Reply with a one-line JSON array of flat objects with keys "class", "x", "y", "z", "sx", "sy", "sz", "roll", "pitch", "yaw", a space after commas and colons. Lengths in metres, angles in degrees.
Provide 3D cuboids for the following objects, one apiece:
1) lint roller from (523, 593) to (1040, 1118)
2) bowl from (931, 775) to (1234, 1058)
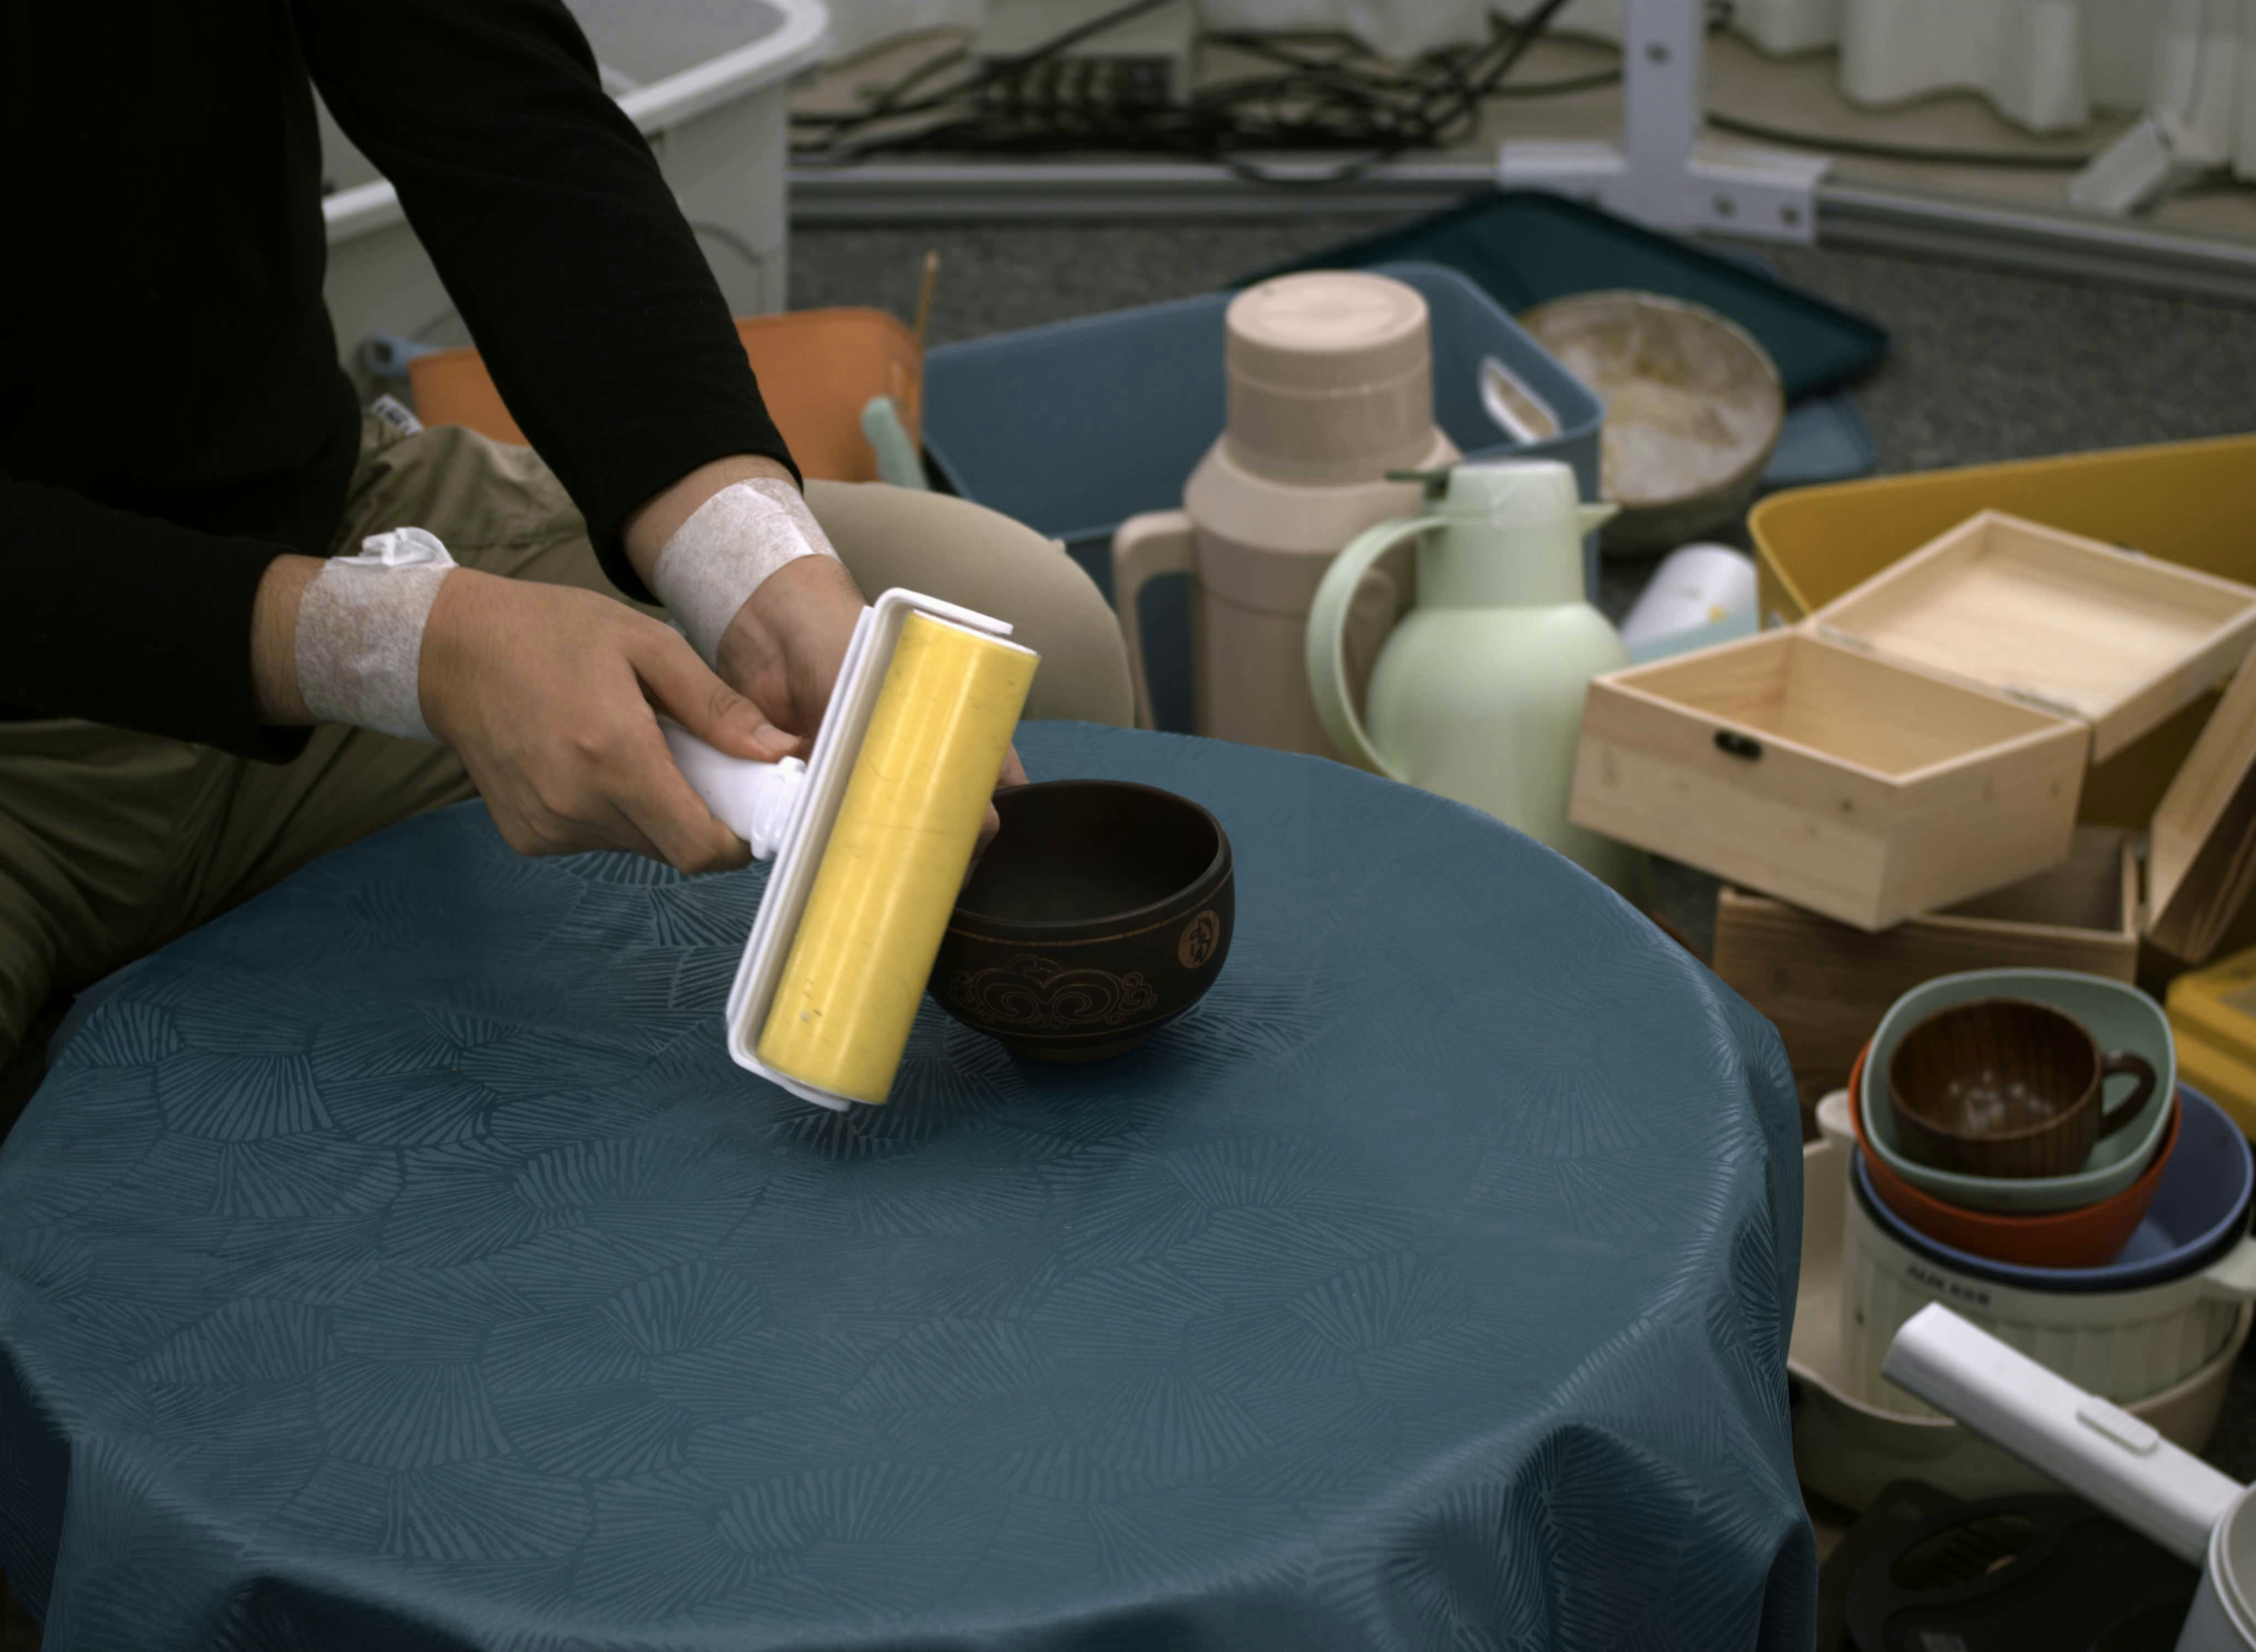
[{"class": "lint roller", "x": -0.136, "y": -0.007, "z": 1.918, "sx": 0.191, "sy": 0.175, "sz": 0.051, "roll": 17, "pitch": 0, "yaw": 25}, {"class": "bowl", "x": -0.021, "y": 0.037, "z": 1.945, "sx": 0.117, "sy": 0.069, "sz": 0.119, "roll": -2, "pitch": 24, "yaw": 1}]
